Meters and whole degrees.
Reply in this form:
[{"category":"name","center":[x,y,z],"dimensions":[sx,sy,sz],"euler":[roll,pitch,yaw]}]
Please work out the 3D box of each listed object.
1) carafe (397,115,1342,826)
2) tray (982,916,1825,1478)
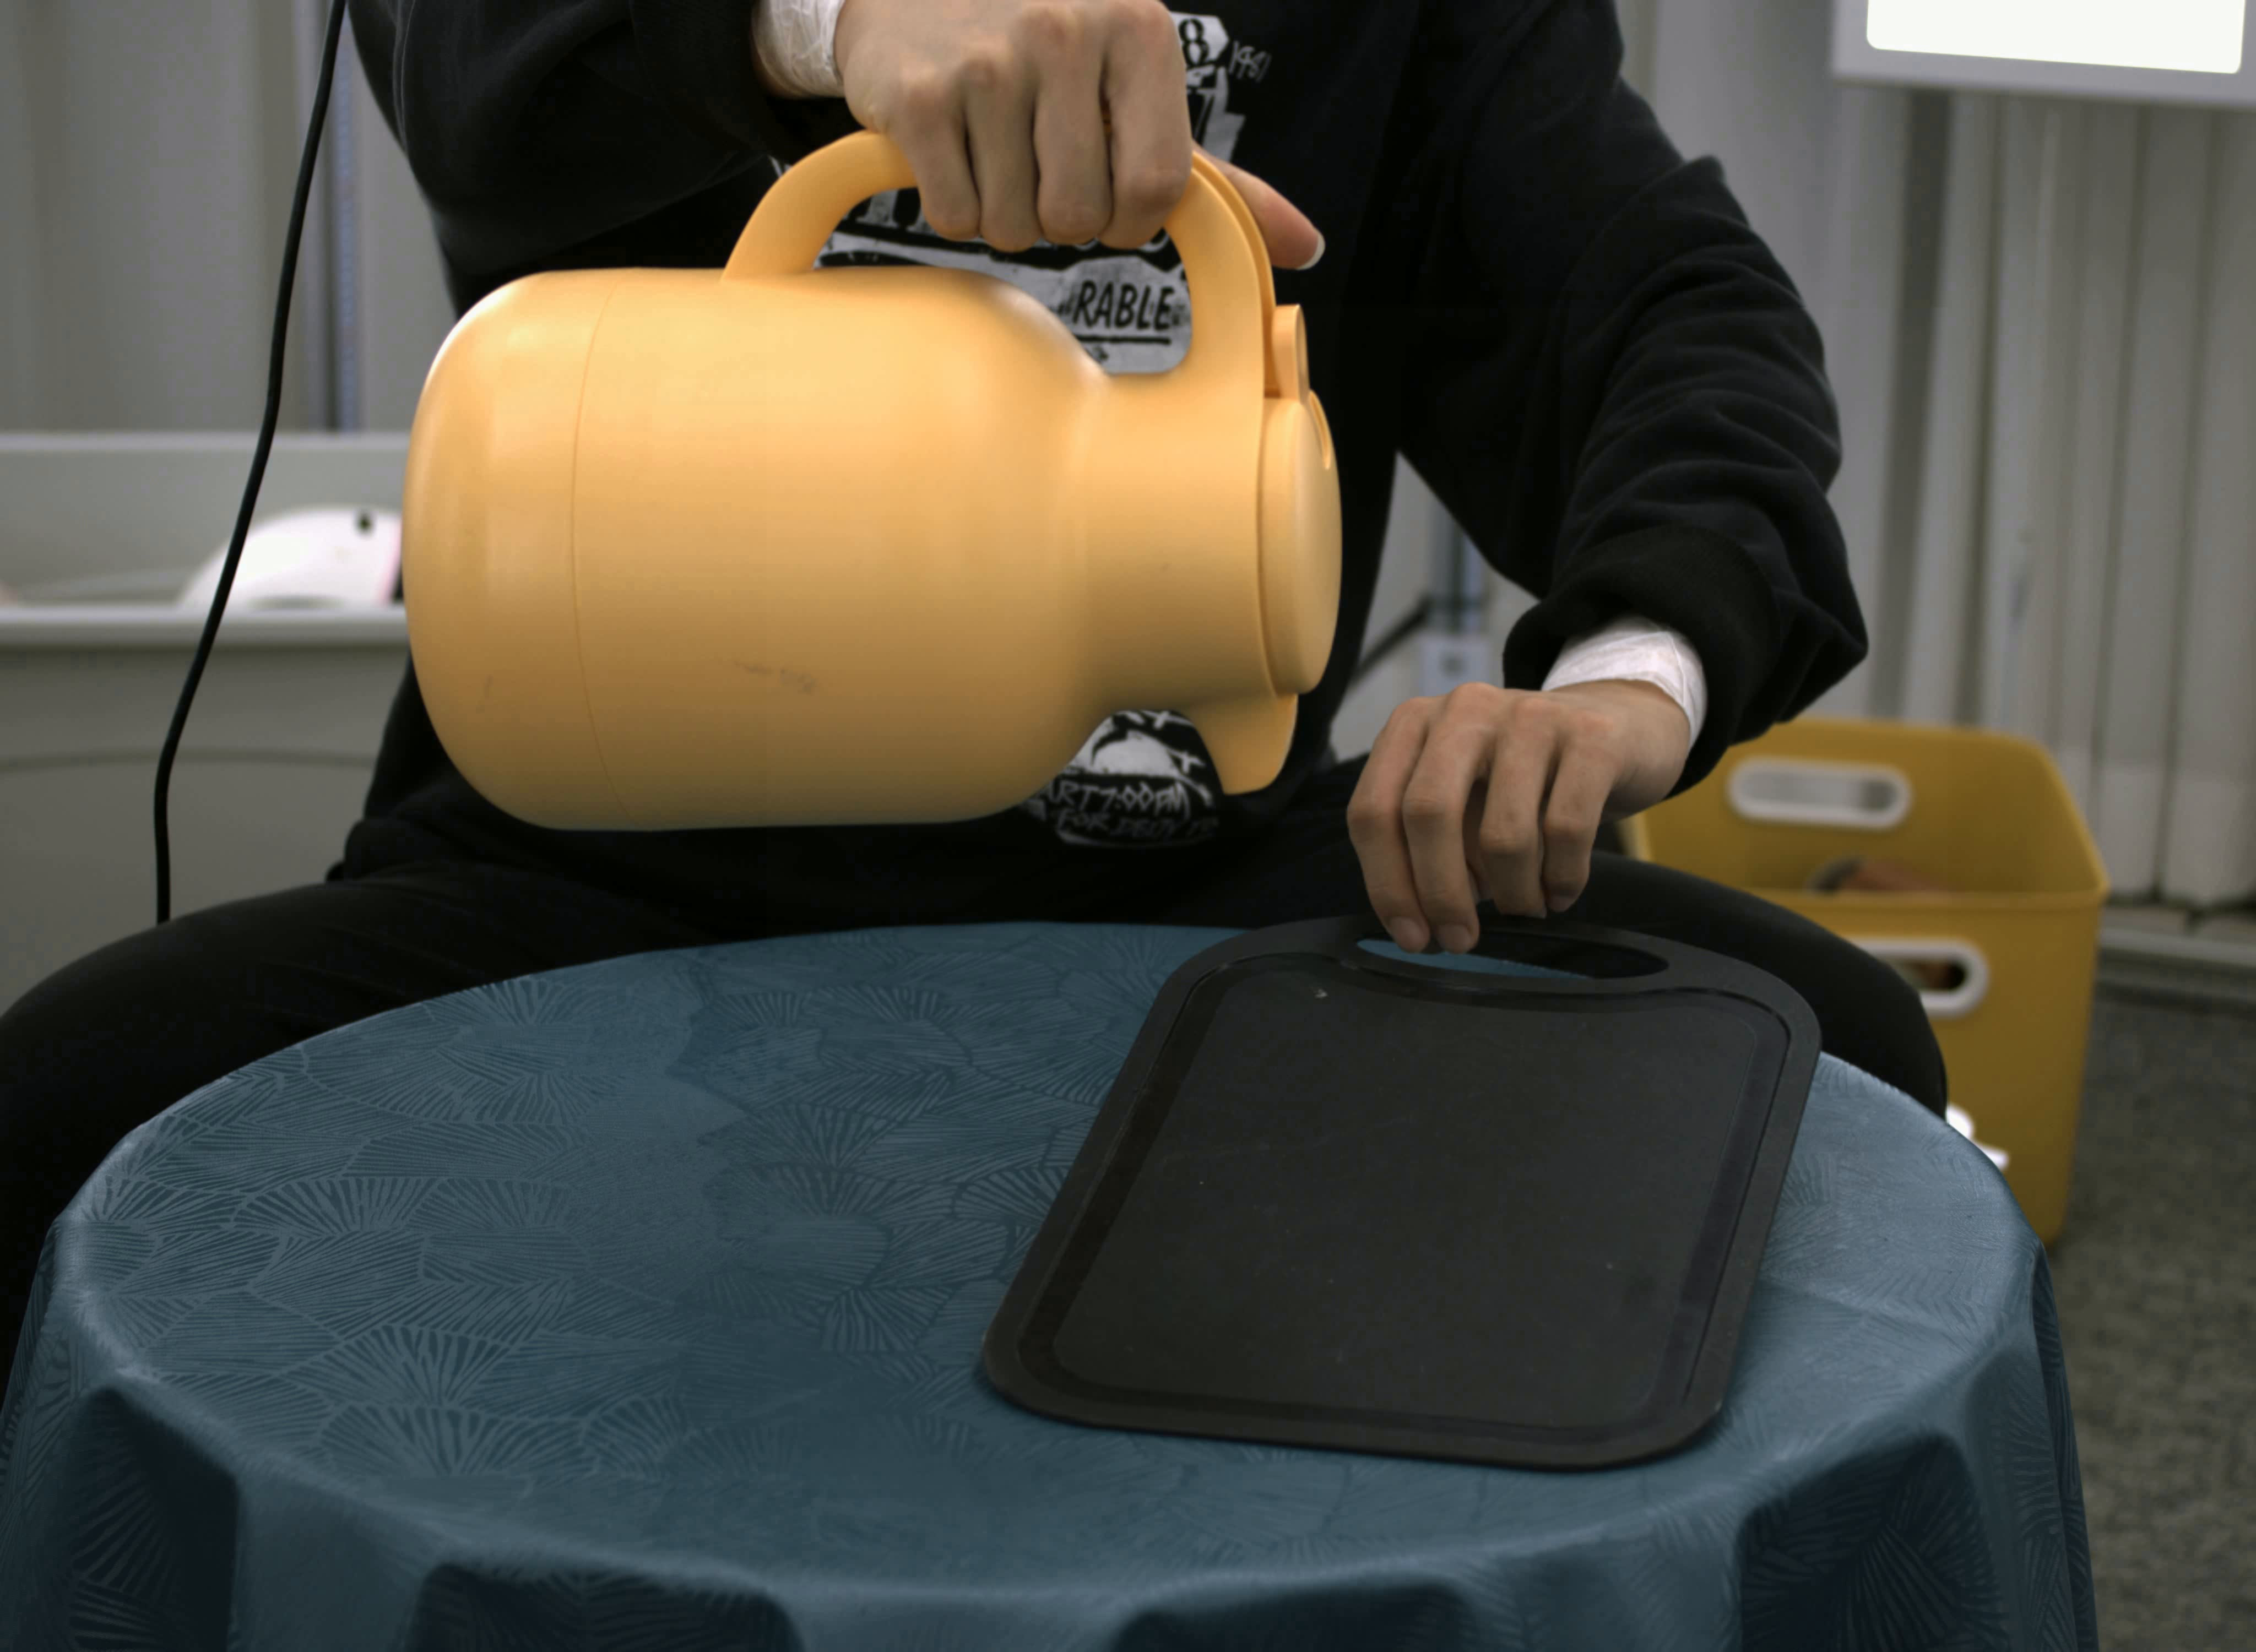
[{"category":"carafe","center":[-0.070,-0.100,1.503],"dimensions":[0.259,0.204,0.163],"euler":[1,10,7]},{"category":"tray","center":[0.089,0.098,1.561],"dimensions":[0.209,0.010,0.324],"euler":[5,26,13]}]
